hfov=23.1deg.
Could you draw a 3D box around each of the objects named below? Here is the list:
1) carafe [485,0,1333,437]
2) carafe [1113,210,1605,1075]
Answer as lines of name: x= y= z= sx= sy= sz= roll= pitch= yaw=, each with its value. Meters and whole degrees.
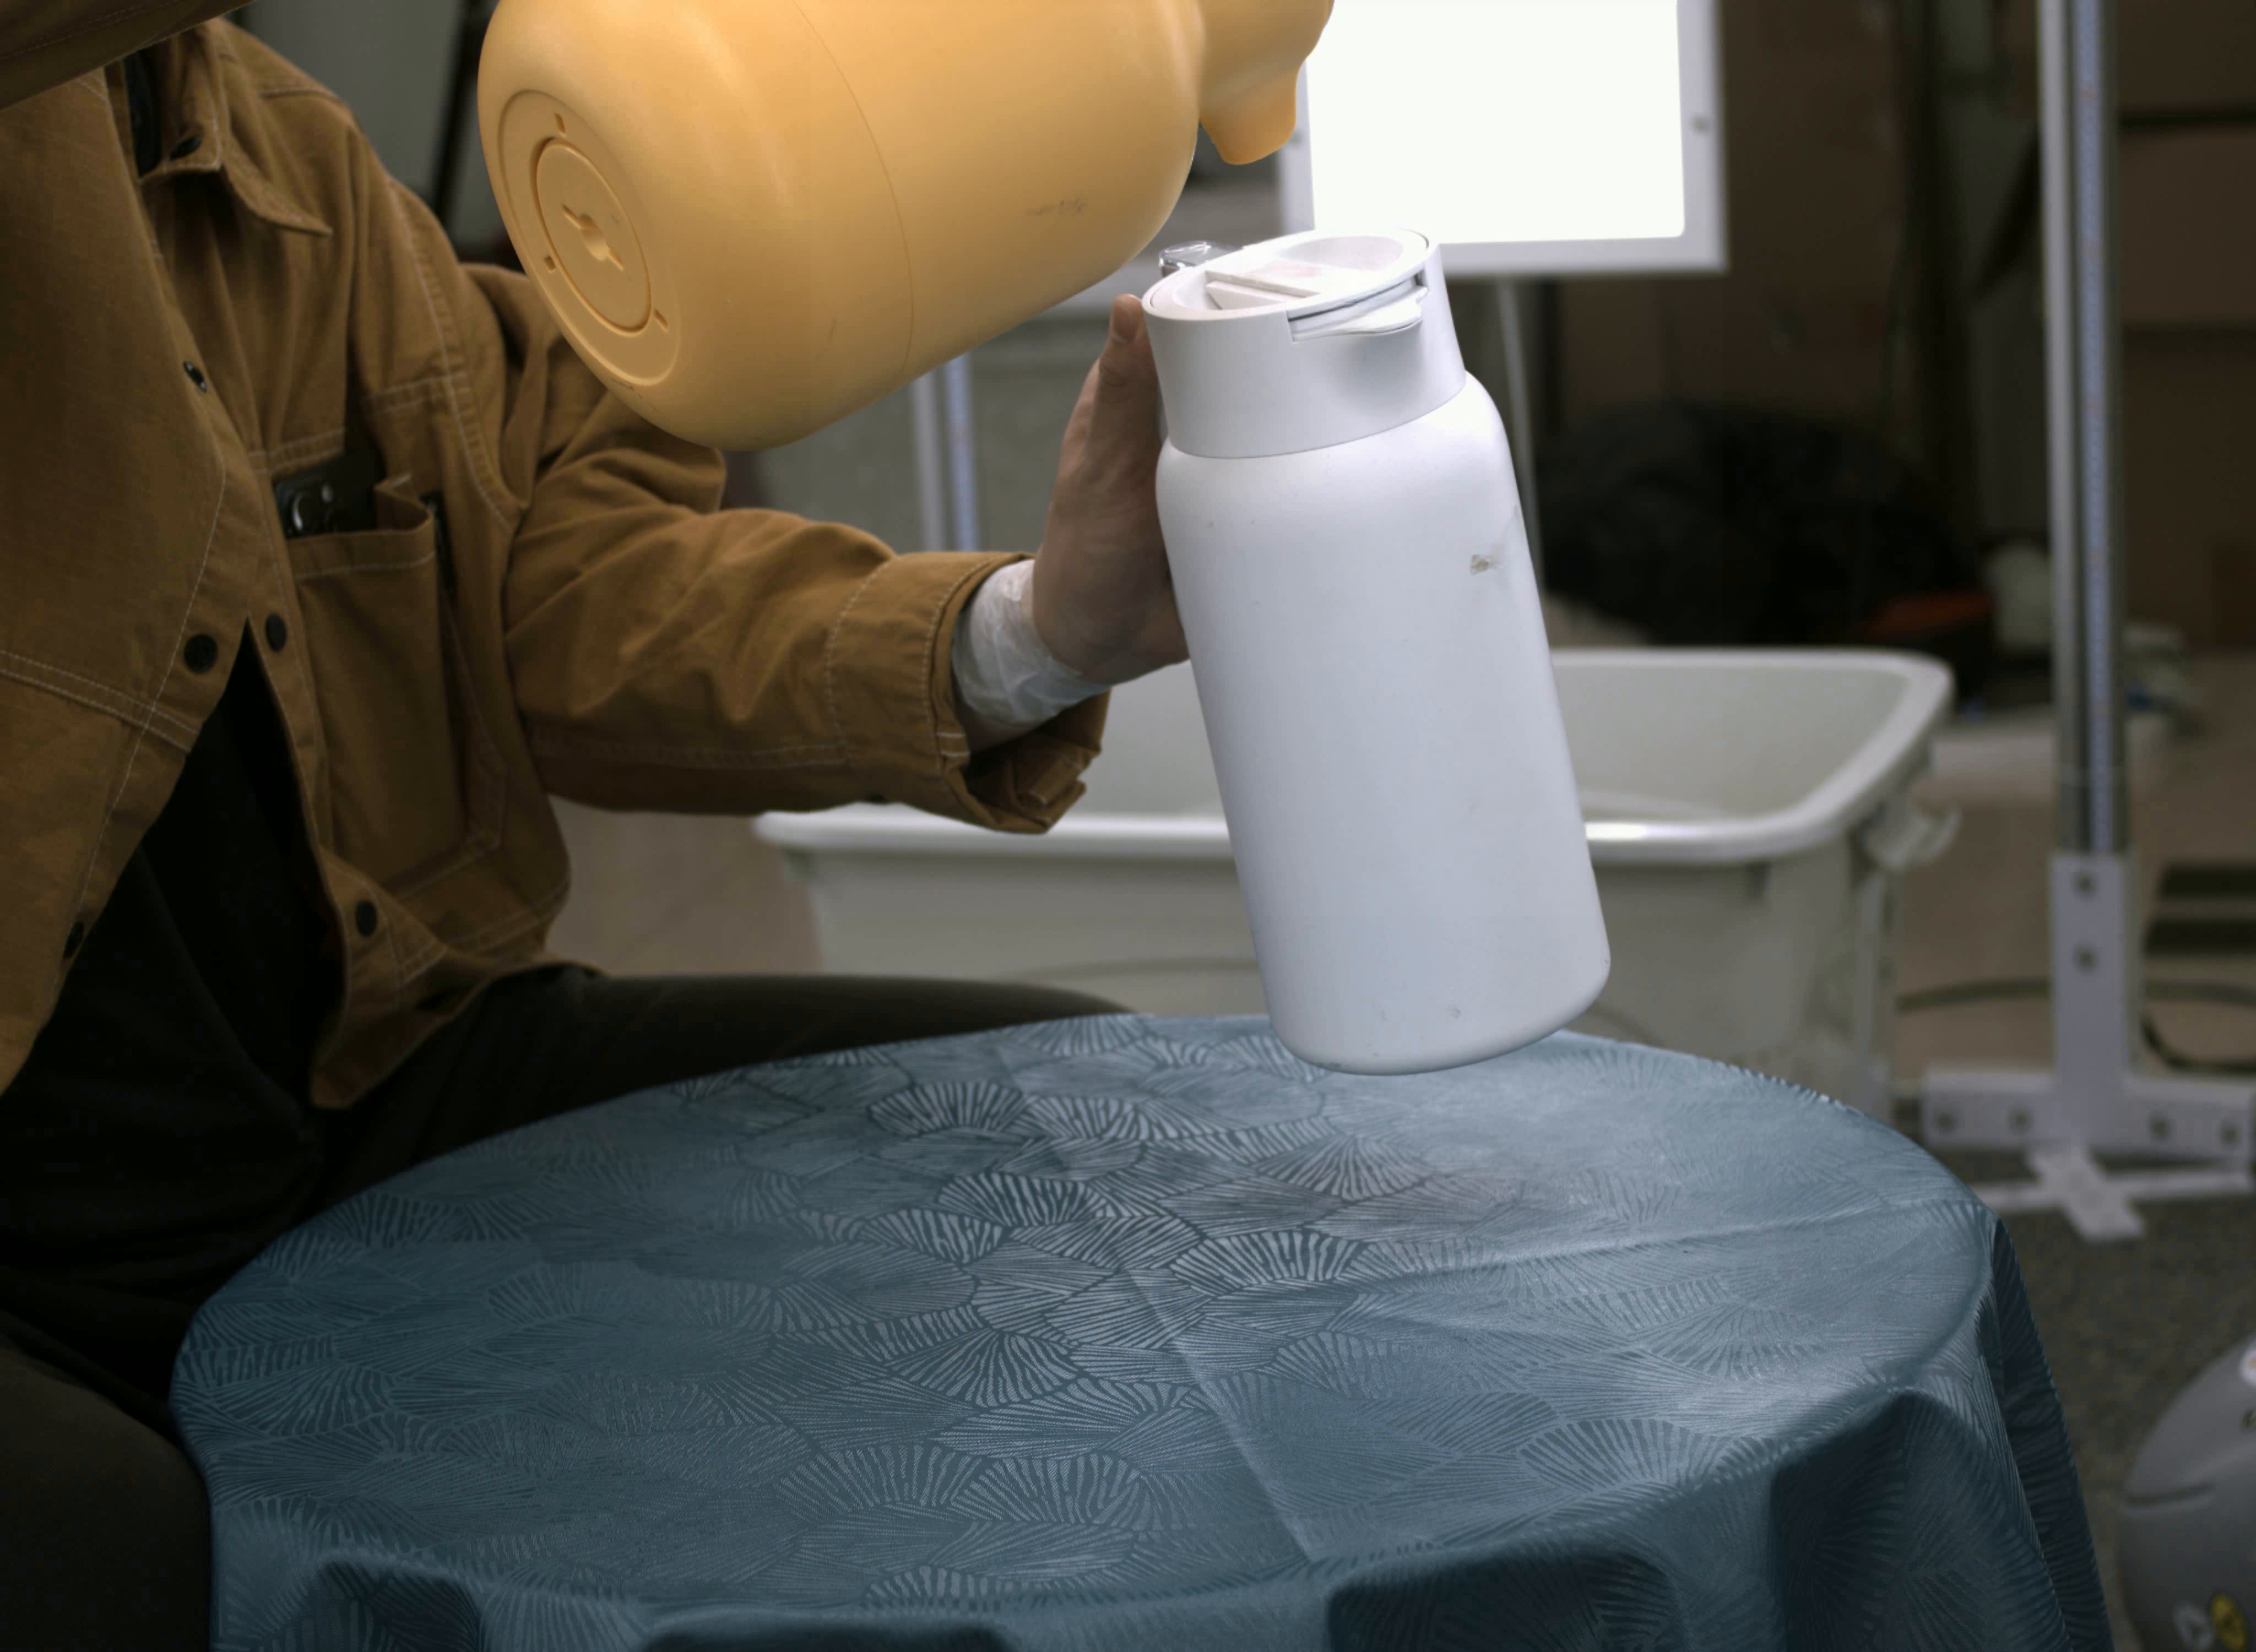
carafe: x=-0.061 y=-0.250 z=1.661 sx=0.255 sy=0.202 sz=0.166 roll=-30 pitch=29 yaw=-28
carafe: x=0.068 y=-0.062 z=1.824 sx=0.121 sy=0.269 sz=0.176 roll=-24 pitch=22 yaw=-24
